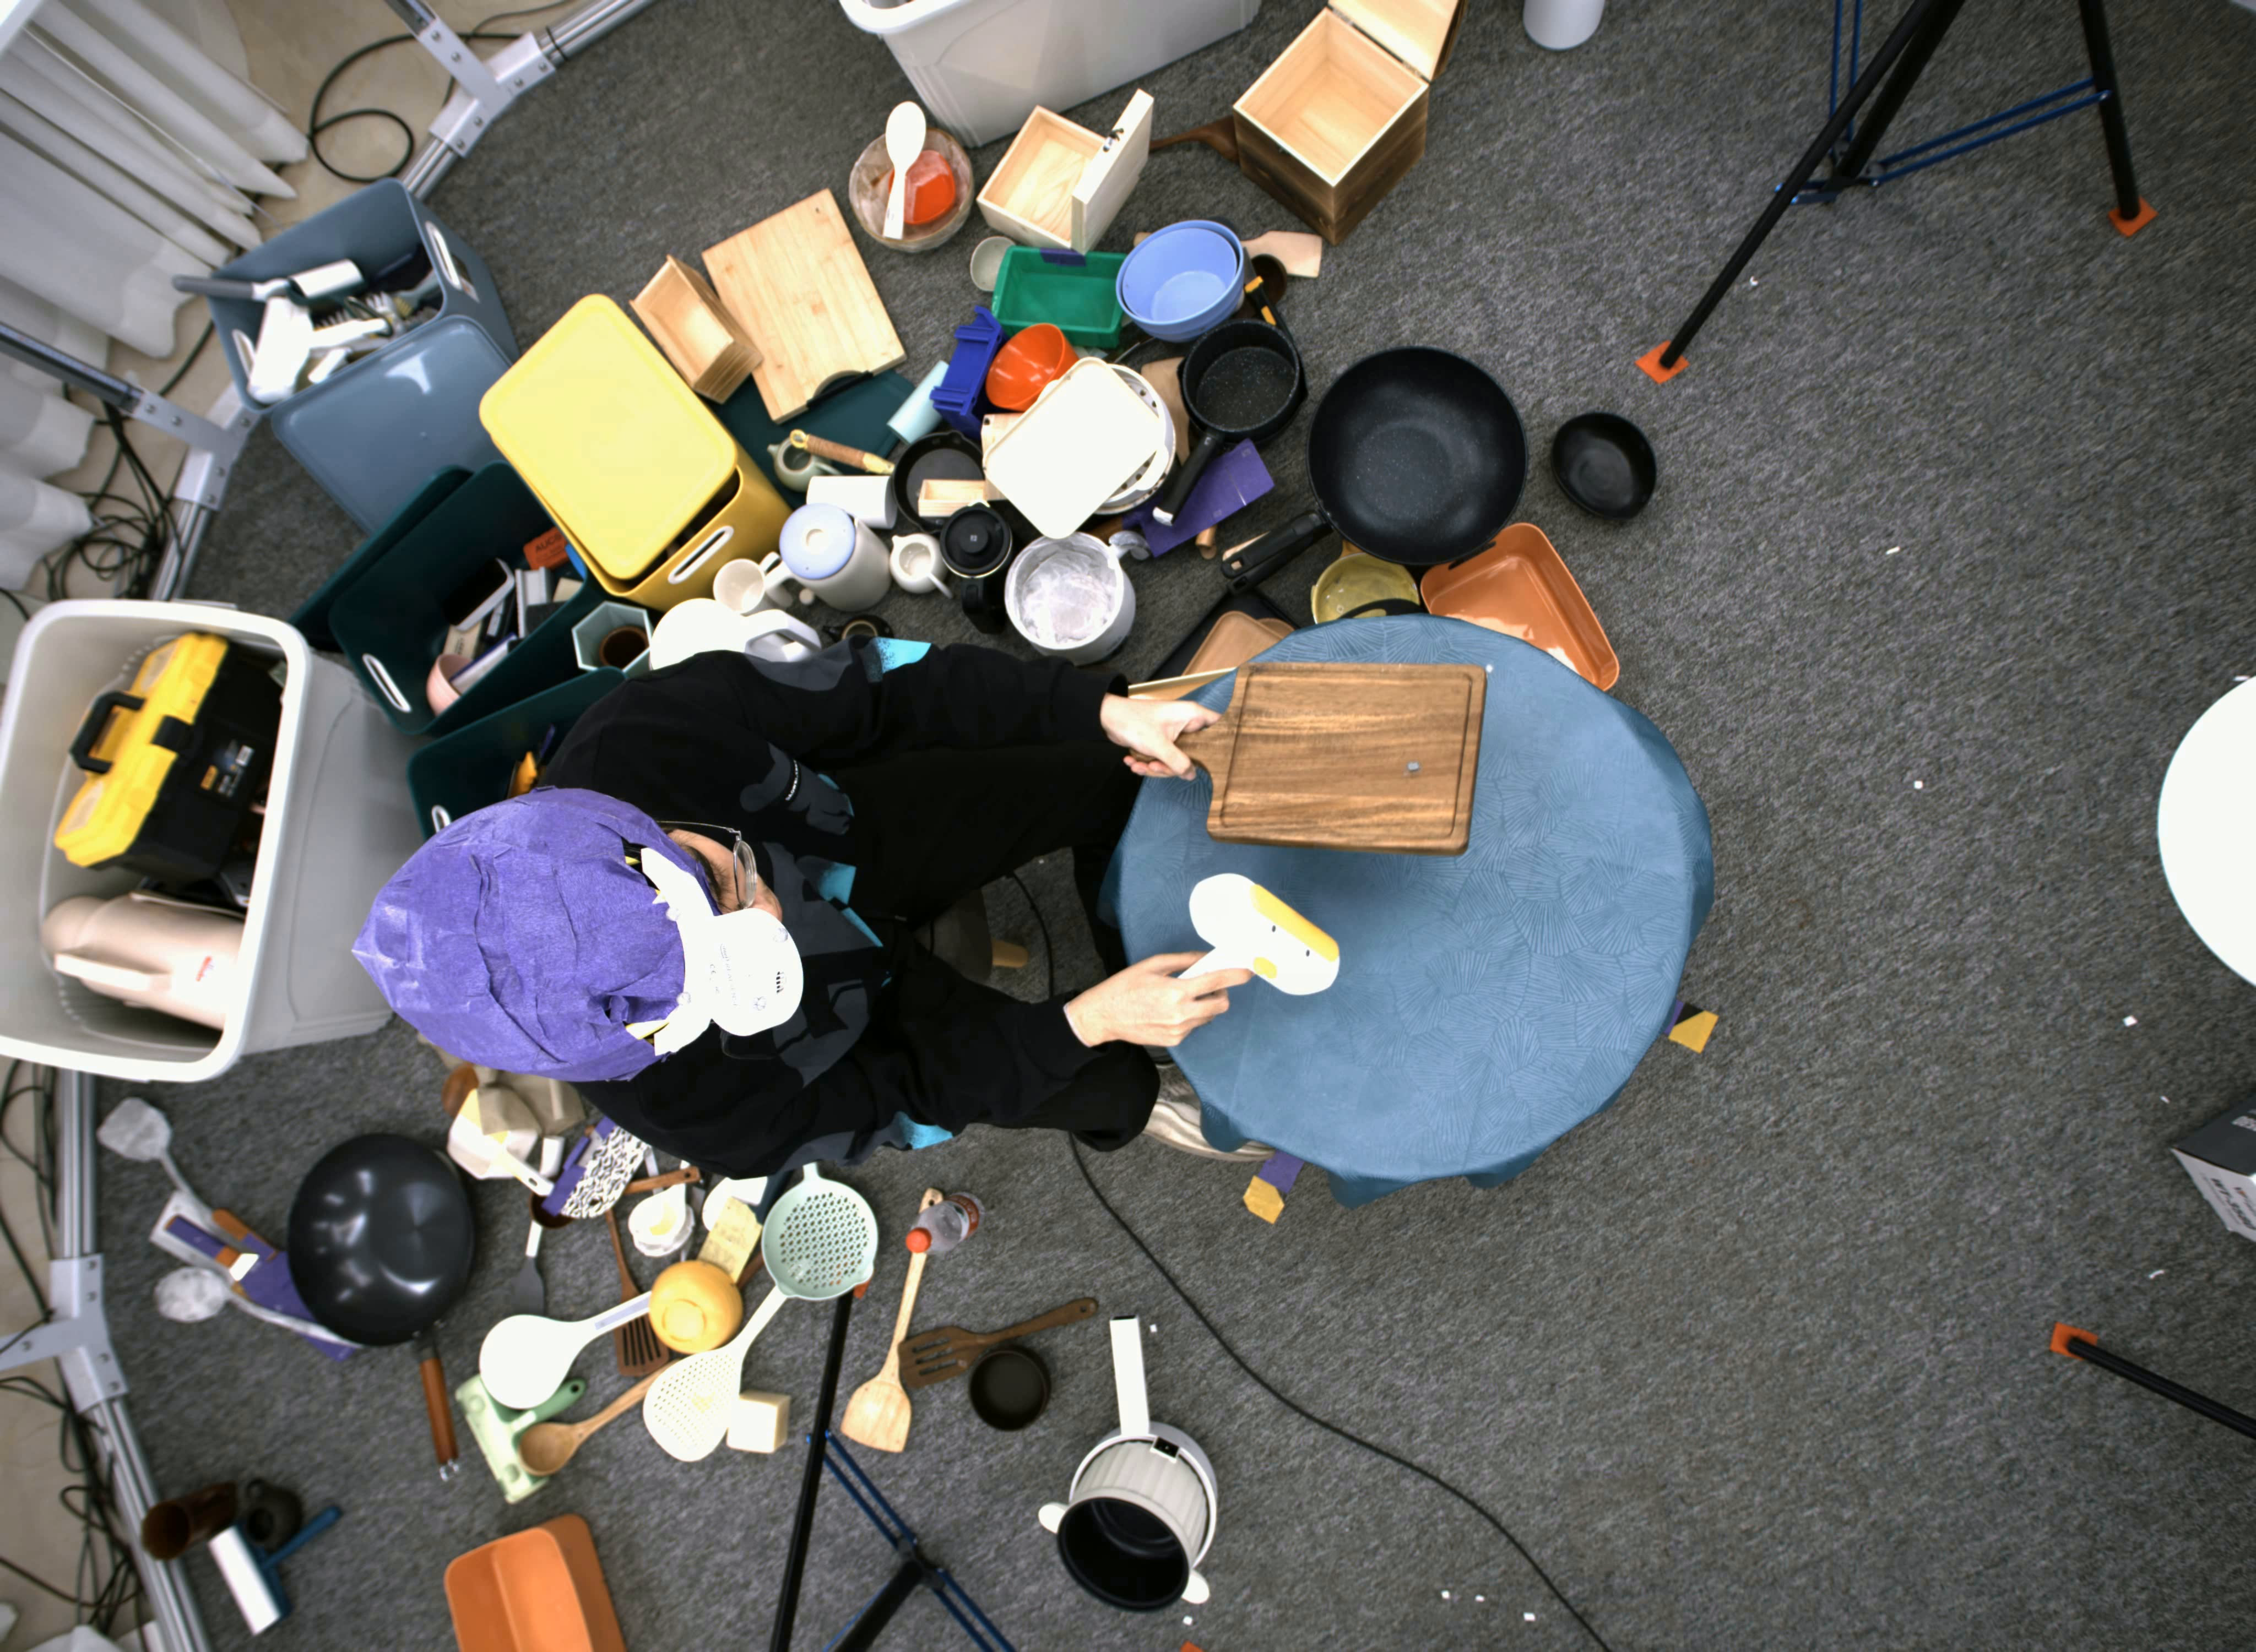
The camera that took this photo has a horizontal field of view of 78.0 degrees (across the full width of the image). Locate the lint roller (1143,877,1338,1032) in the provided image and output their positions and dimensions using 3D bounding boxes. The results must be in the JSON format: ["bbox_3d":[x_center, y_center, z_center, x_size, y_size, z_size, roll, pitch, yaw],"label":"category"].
[{"bbox_3d":[0.088,0.139,1.366,0.196,0.194,0.072,-32,49,31],"label":"lint roller"}]

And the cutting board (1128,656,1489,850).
[{"bbox_3d":[0.167,-0.075,1.342,0.354,0.023,0.197,2,68,23],"label":"cutting board"}]
